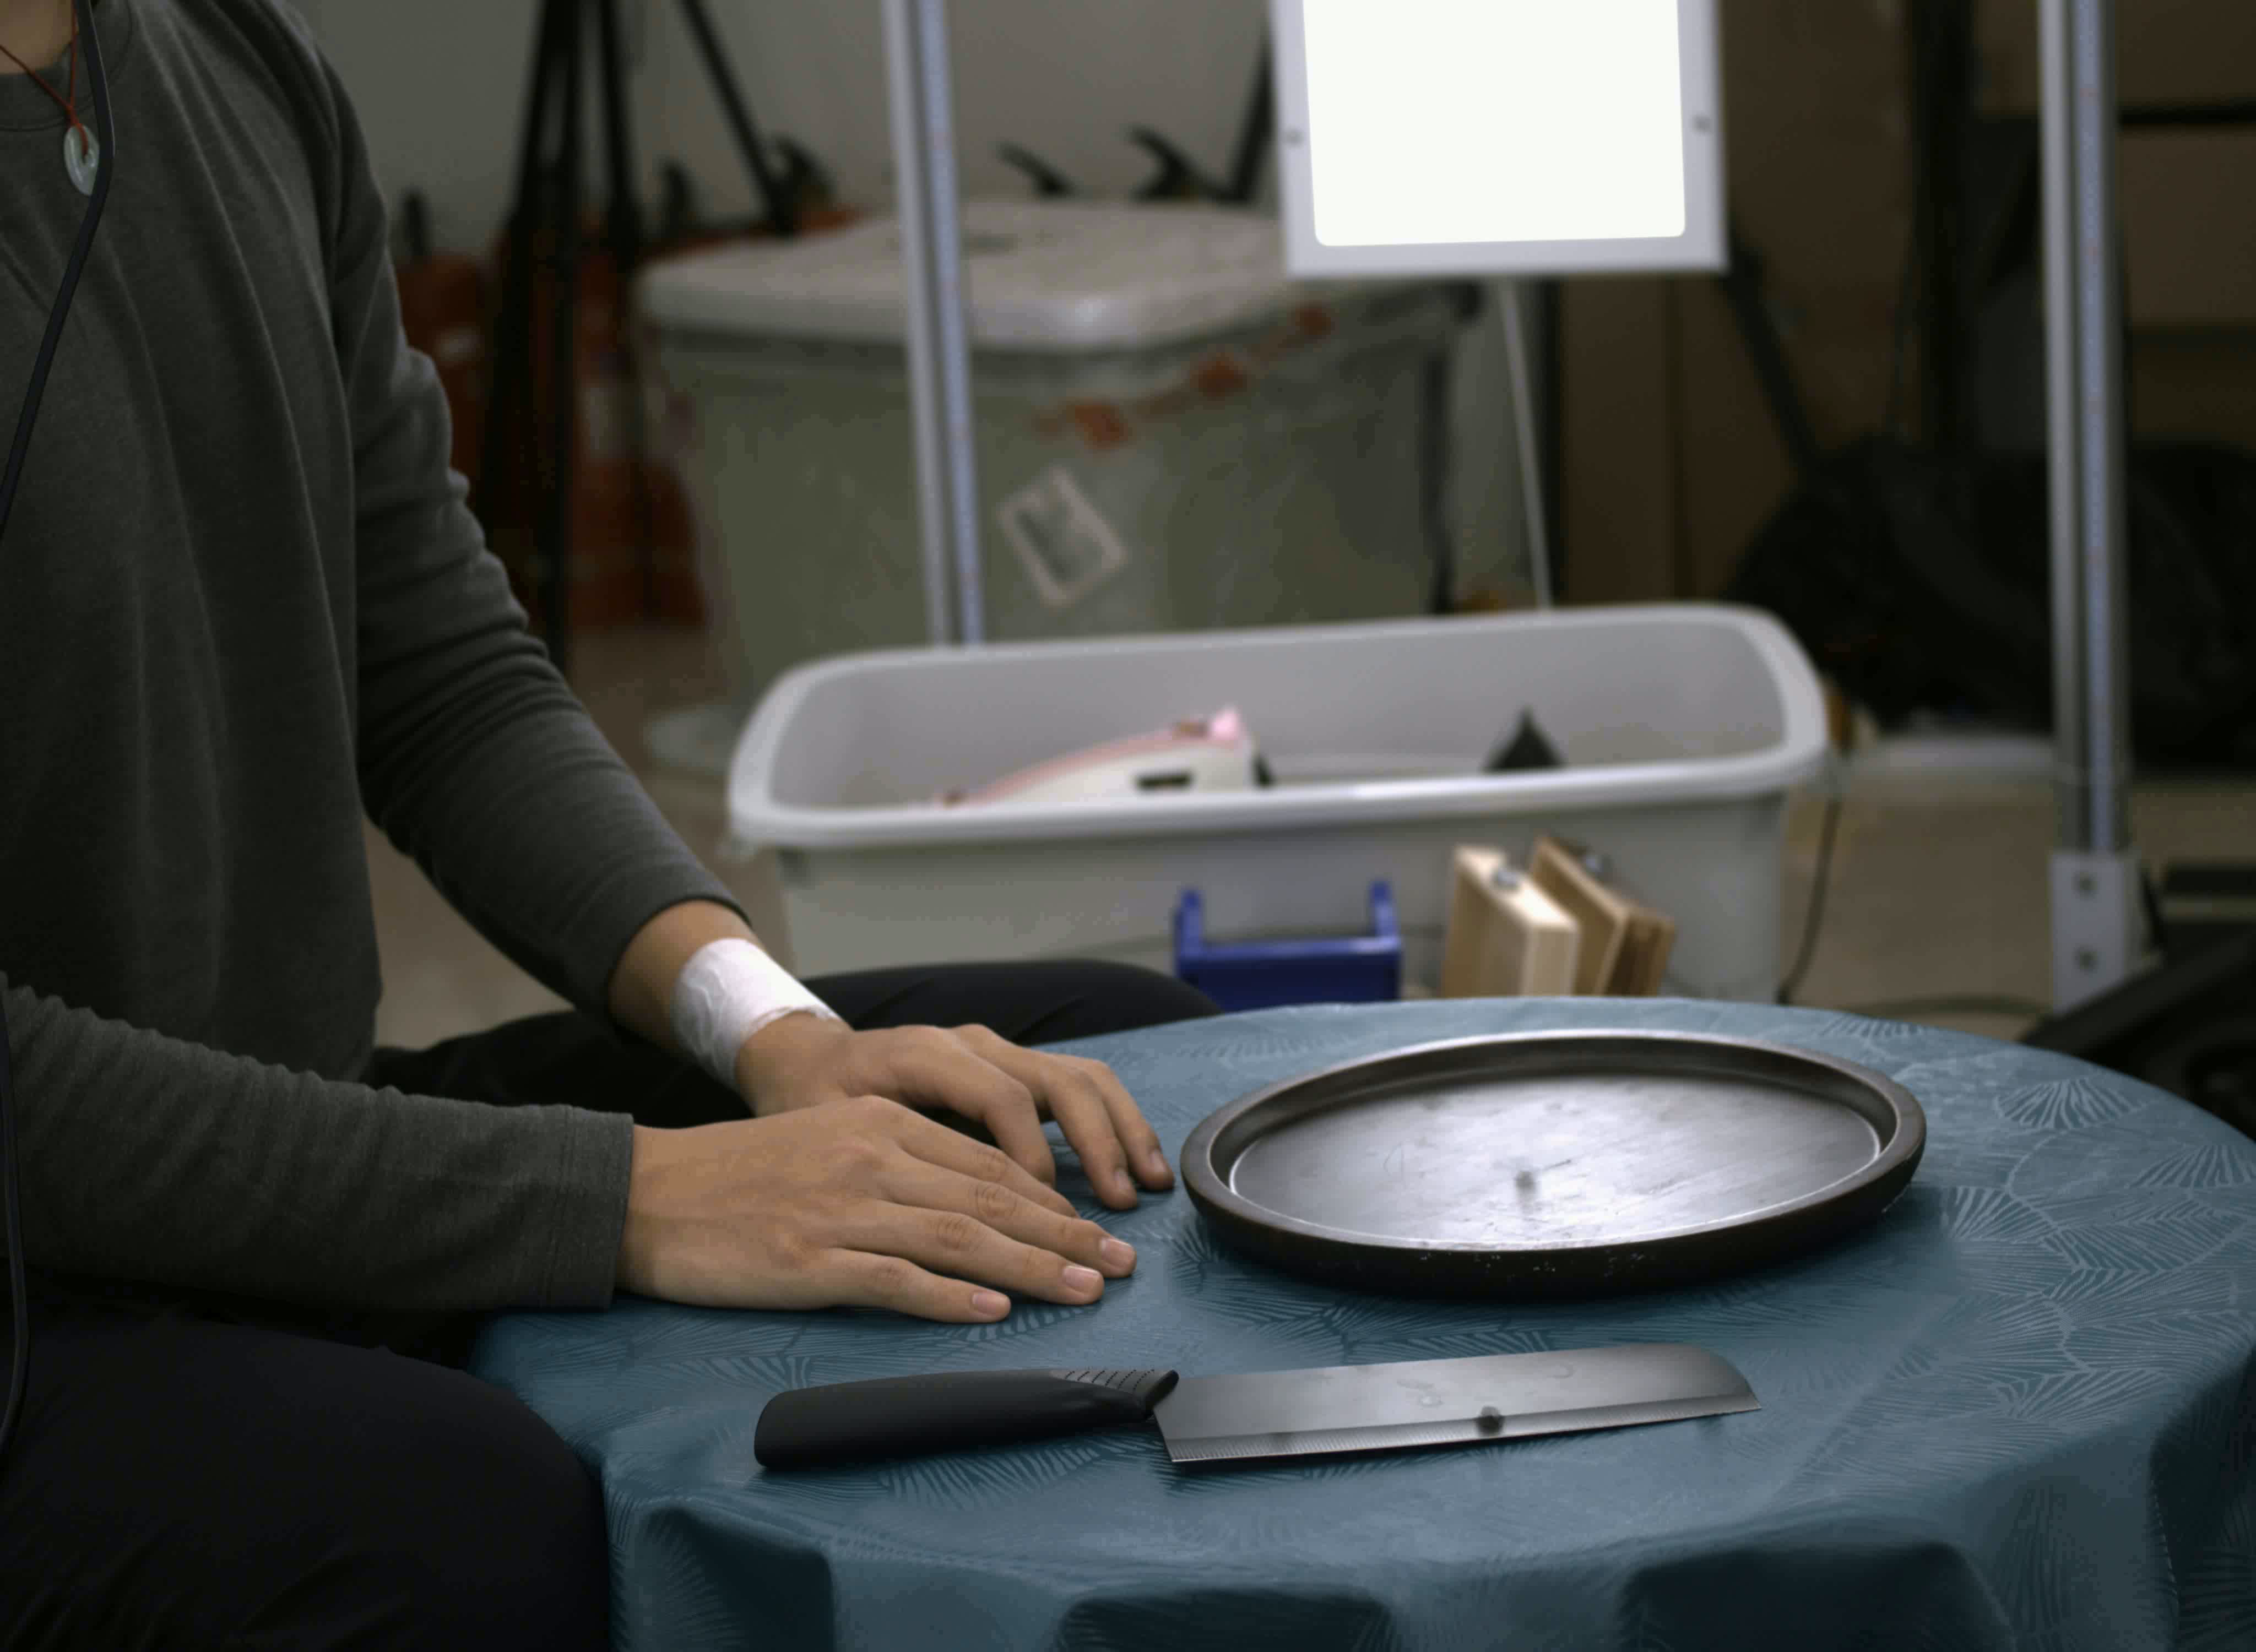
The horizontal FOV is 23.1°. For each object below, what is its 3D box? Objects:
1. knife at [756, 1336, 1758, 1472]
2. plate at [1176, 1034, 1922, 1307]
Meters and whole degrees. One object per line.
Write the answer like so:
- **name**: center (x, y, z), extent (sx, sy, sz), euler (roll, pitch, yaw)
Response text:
- **knife**: center (0.039, 0.176, 1.659), extent (0.301, 0.021, 0.081), euler (-3, 15, 1)
- **plate**: center (0.143, 0.113, 1.856), extent (0.254, 0.029, 0.254), euler (-5, 15, 0)
